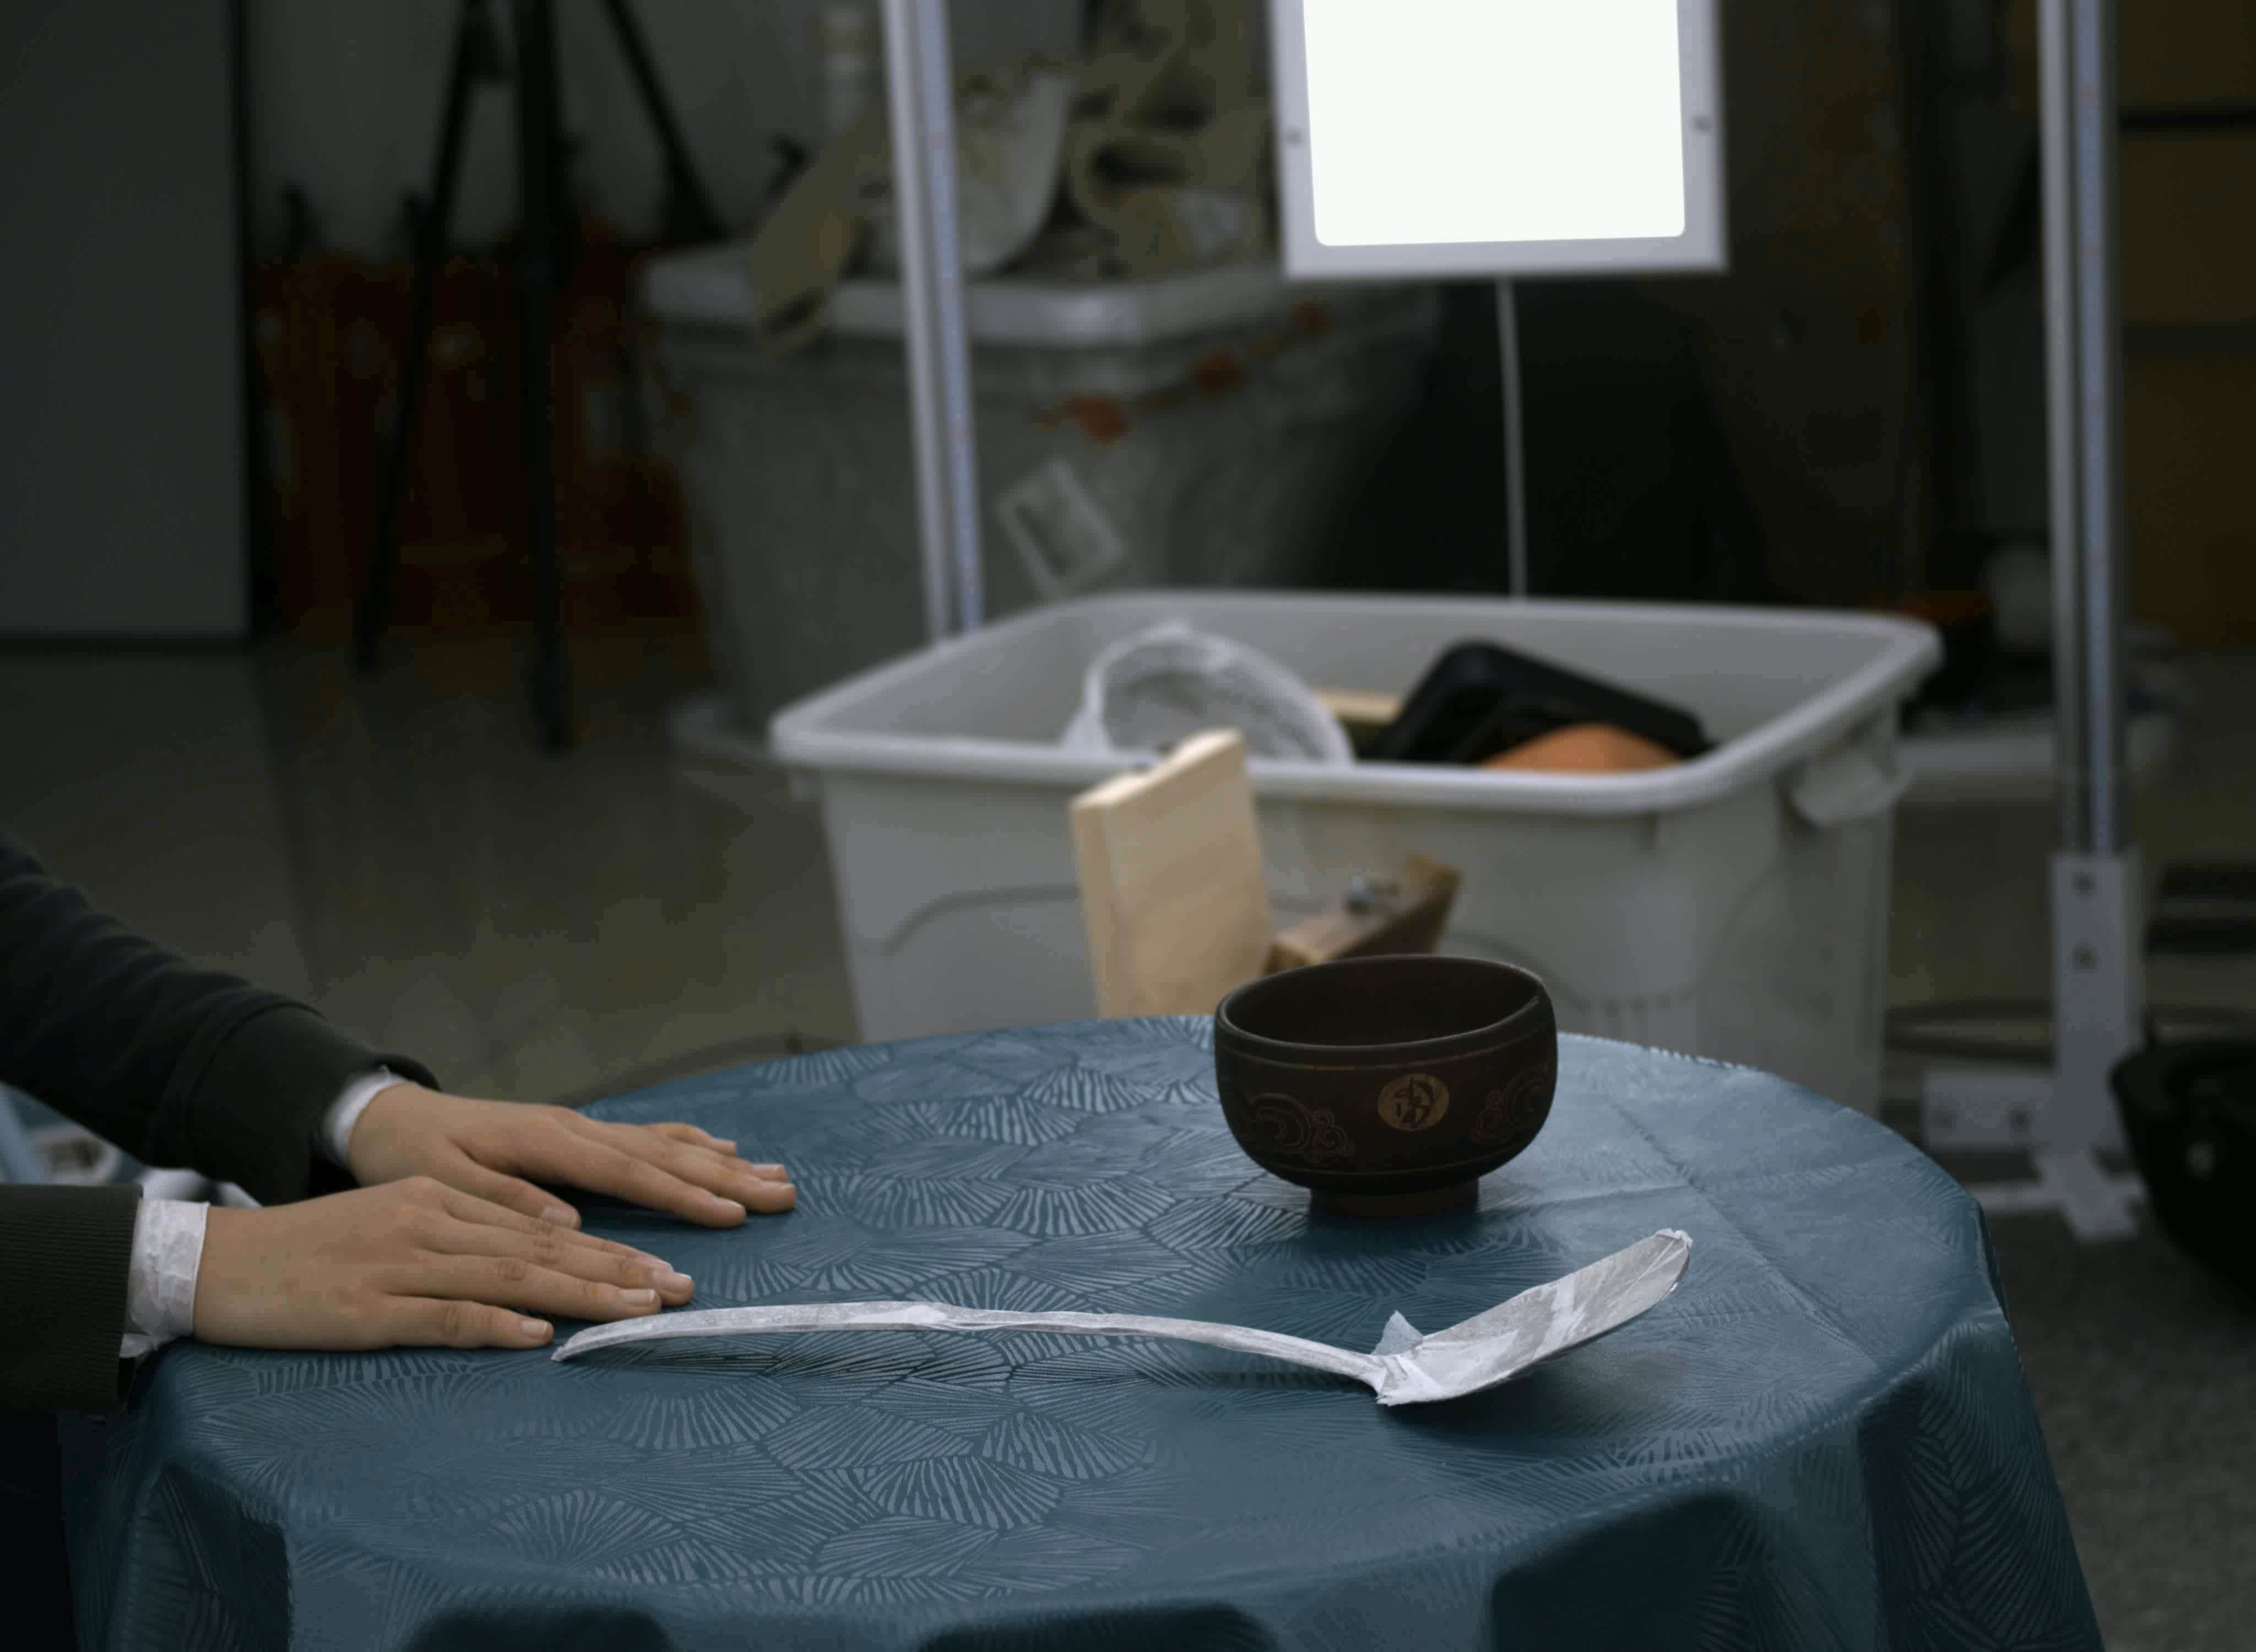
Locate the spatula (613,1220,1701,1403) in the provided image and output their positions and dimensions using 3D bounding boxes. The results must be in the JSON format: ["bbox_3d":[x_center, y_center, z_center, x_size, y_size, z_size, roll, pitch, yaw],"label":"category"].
[{"bbox_3d":[-0.001,0.151,1.717,0.370,0.045,0.097,1,17,21],"label":"spatula"}]

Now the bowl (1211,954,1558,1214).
[{"bbox_3d":[0.088,0.090,1.863,0.118,0.070,0.118,-5,12,0],"label":"bowl"}]
